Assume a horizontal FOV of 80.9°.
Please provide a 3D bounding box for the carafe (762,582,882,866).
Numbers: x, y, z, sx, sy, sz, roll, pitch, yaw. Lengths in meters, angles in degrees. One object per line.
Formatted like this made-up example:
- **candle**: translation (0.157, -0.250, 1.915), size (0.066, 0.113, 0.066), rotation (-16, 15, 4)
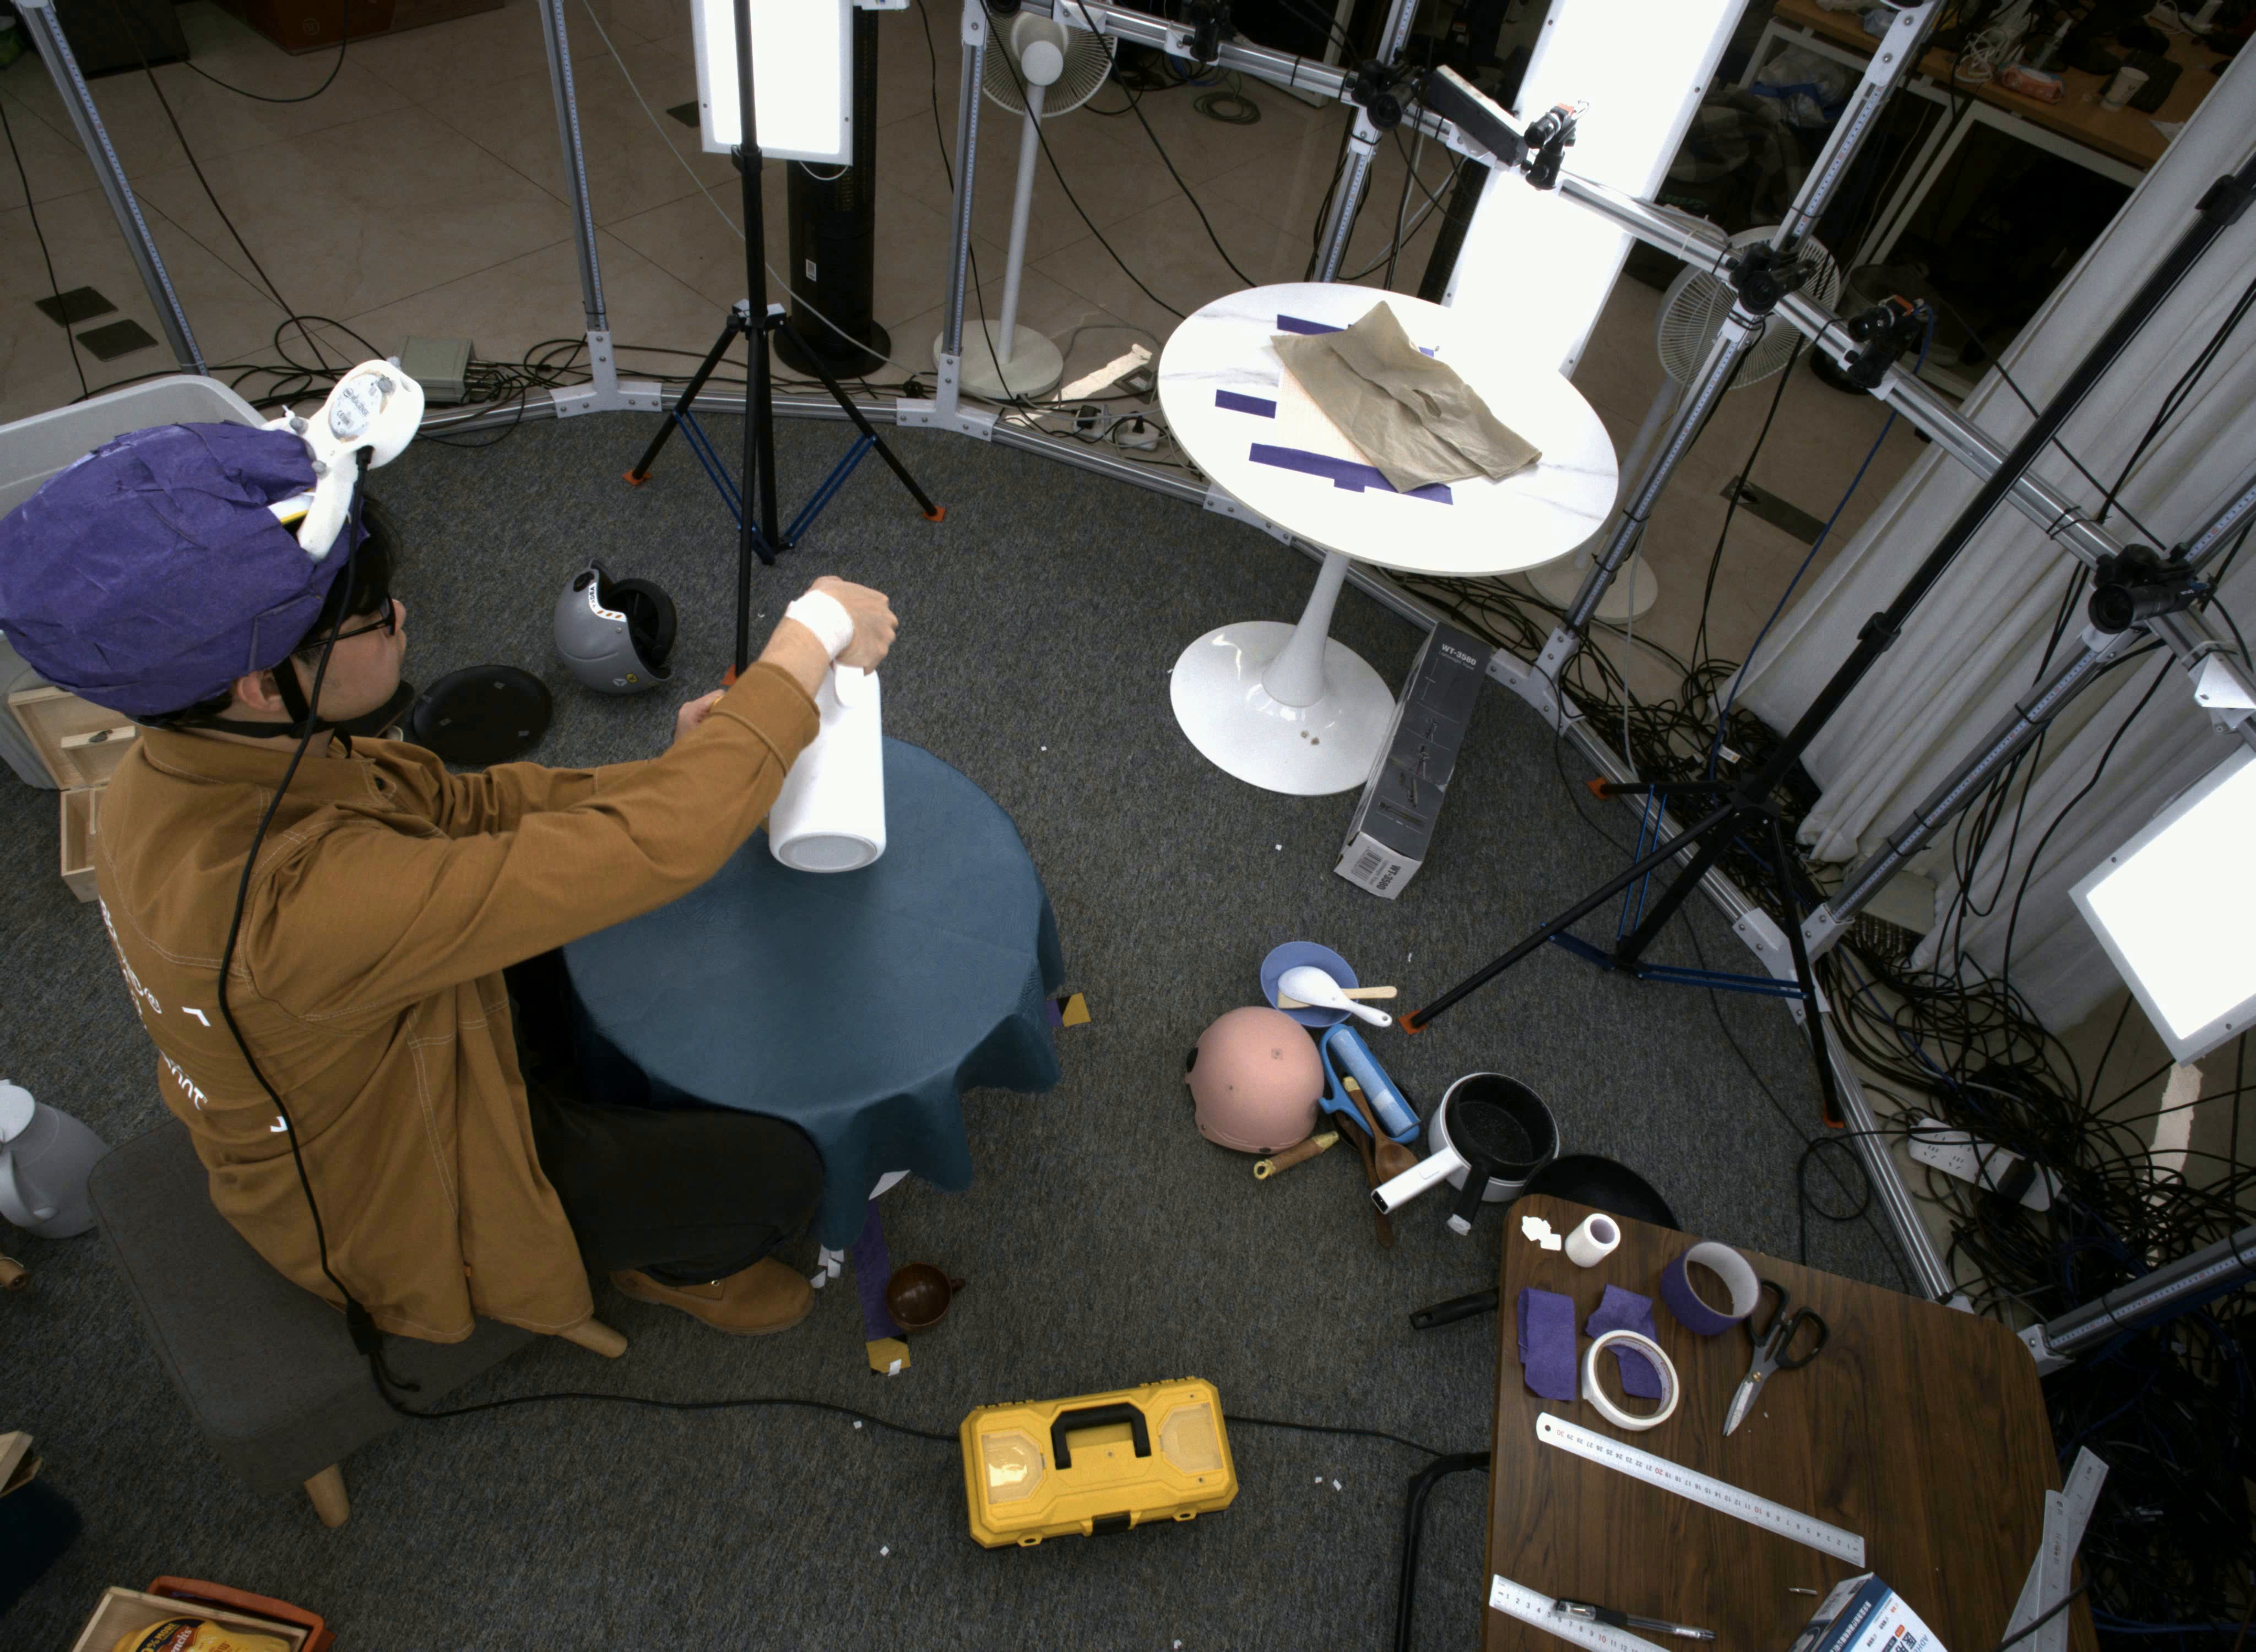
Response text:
- **carafe**: translation (-0.312, -0.109, 1.338), size (0.126, 0.172, 0.266), rotation (7, 63, -26)

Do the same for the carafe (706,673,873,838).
- **carafe**: translation (-0.412, -0.098, 1.588), size (0.203, 0.265, 0.160), rotation (-1, 57, -16)
